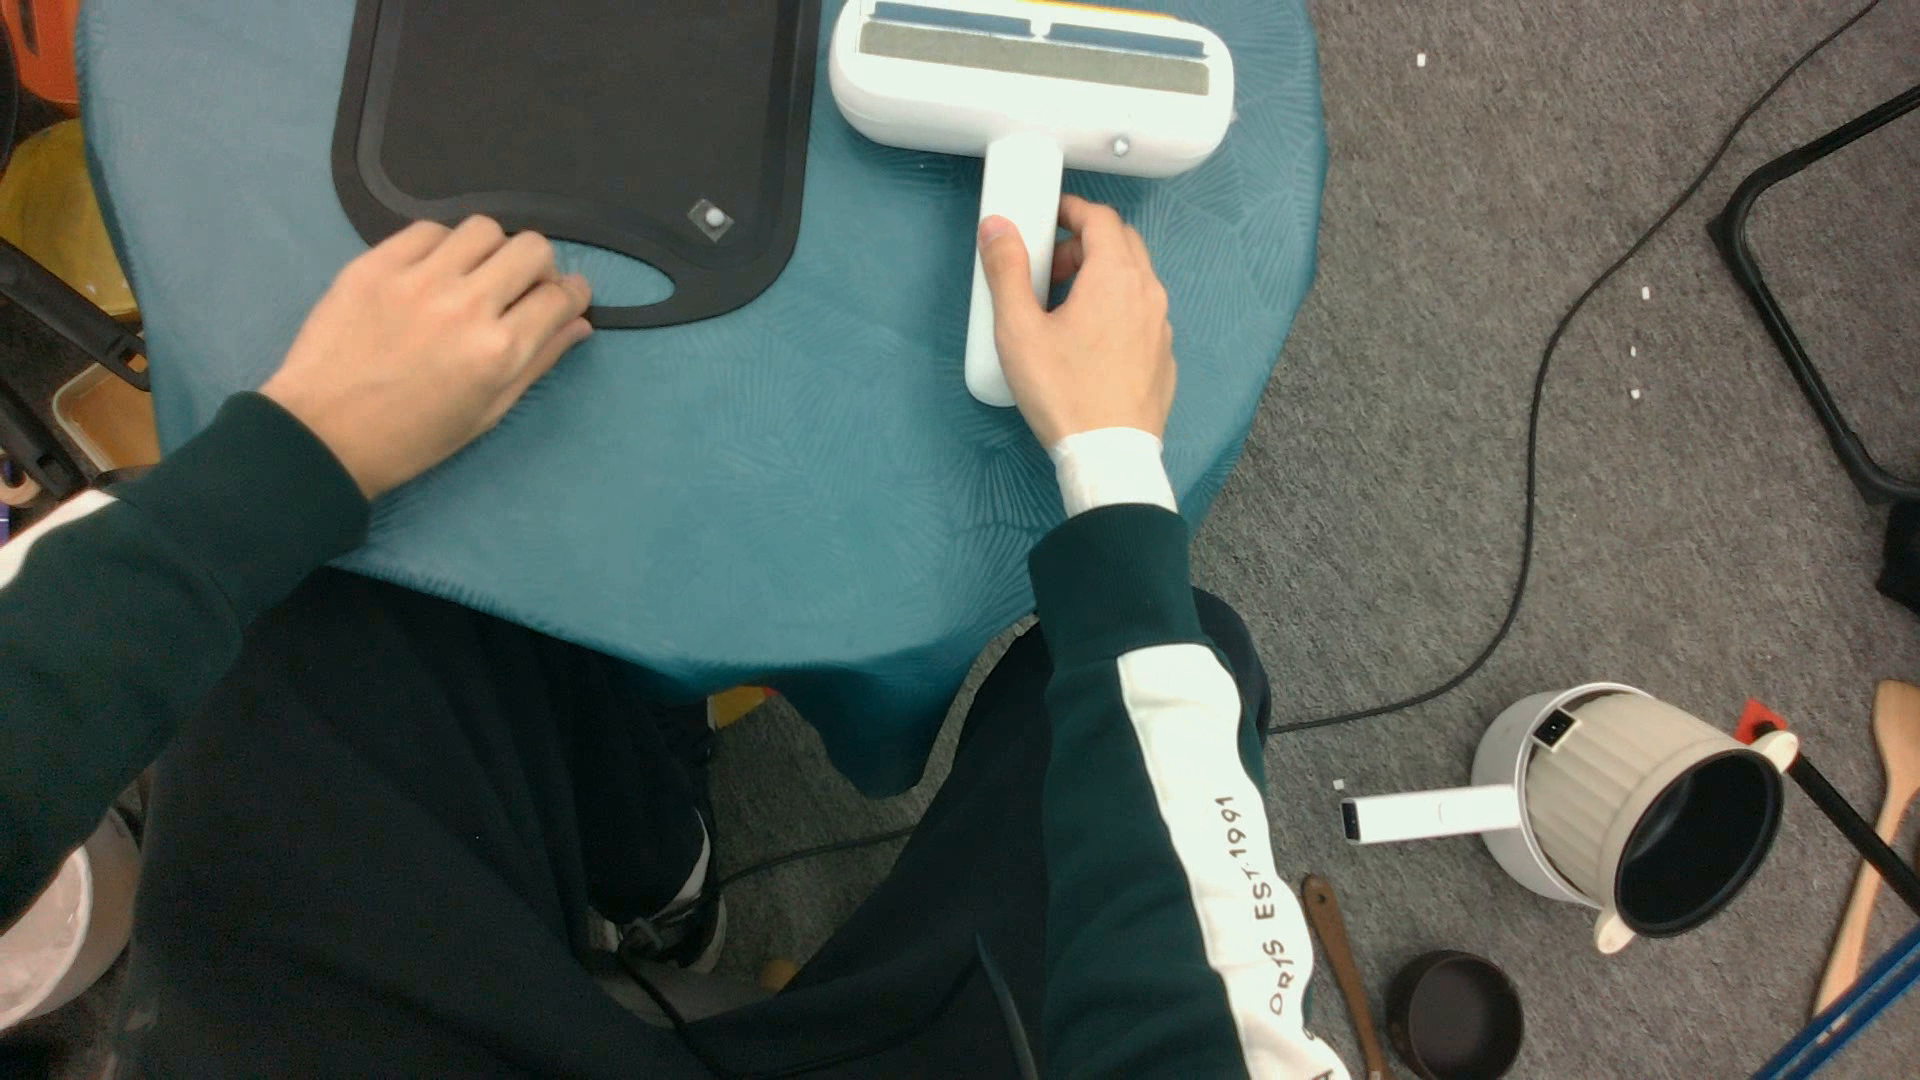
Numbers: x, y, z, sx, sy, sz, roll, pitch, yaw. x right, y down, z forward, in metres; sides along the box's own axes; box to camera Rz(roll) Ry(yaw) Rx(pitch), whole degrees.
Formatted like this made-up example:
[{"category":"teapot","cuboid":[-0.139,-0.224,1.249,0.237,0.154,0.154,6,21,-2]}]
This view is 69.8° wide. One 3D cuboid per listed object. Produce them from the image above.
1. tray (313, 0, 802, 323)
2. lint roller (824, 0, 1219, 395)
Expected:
[{"category":"tray","cuboid":[-0.181,-0.261,0.659,0.211,0.010,0.326,6,79,-13]},{"category":"lint roller","cuboid":[0.018,-0.167,0.682,0.193,0.074,0.192,11,92,-6]}]
